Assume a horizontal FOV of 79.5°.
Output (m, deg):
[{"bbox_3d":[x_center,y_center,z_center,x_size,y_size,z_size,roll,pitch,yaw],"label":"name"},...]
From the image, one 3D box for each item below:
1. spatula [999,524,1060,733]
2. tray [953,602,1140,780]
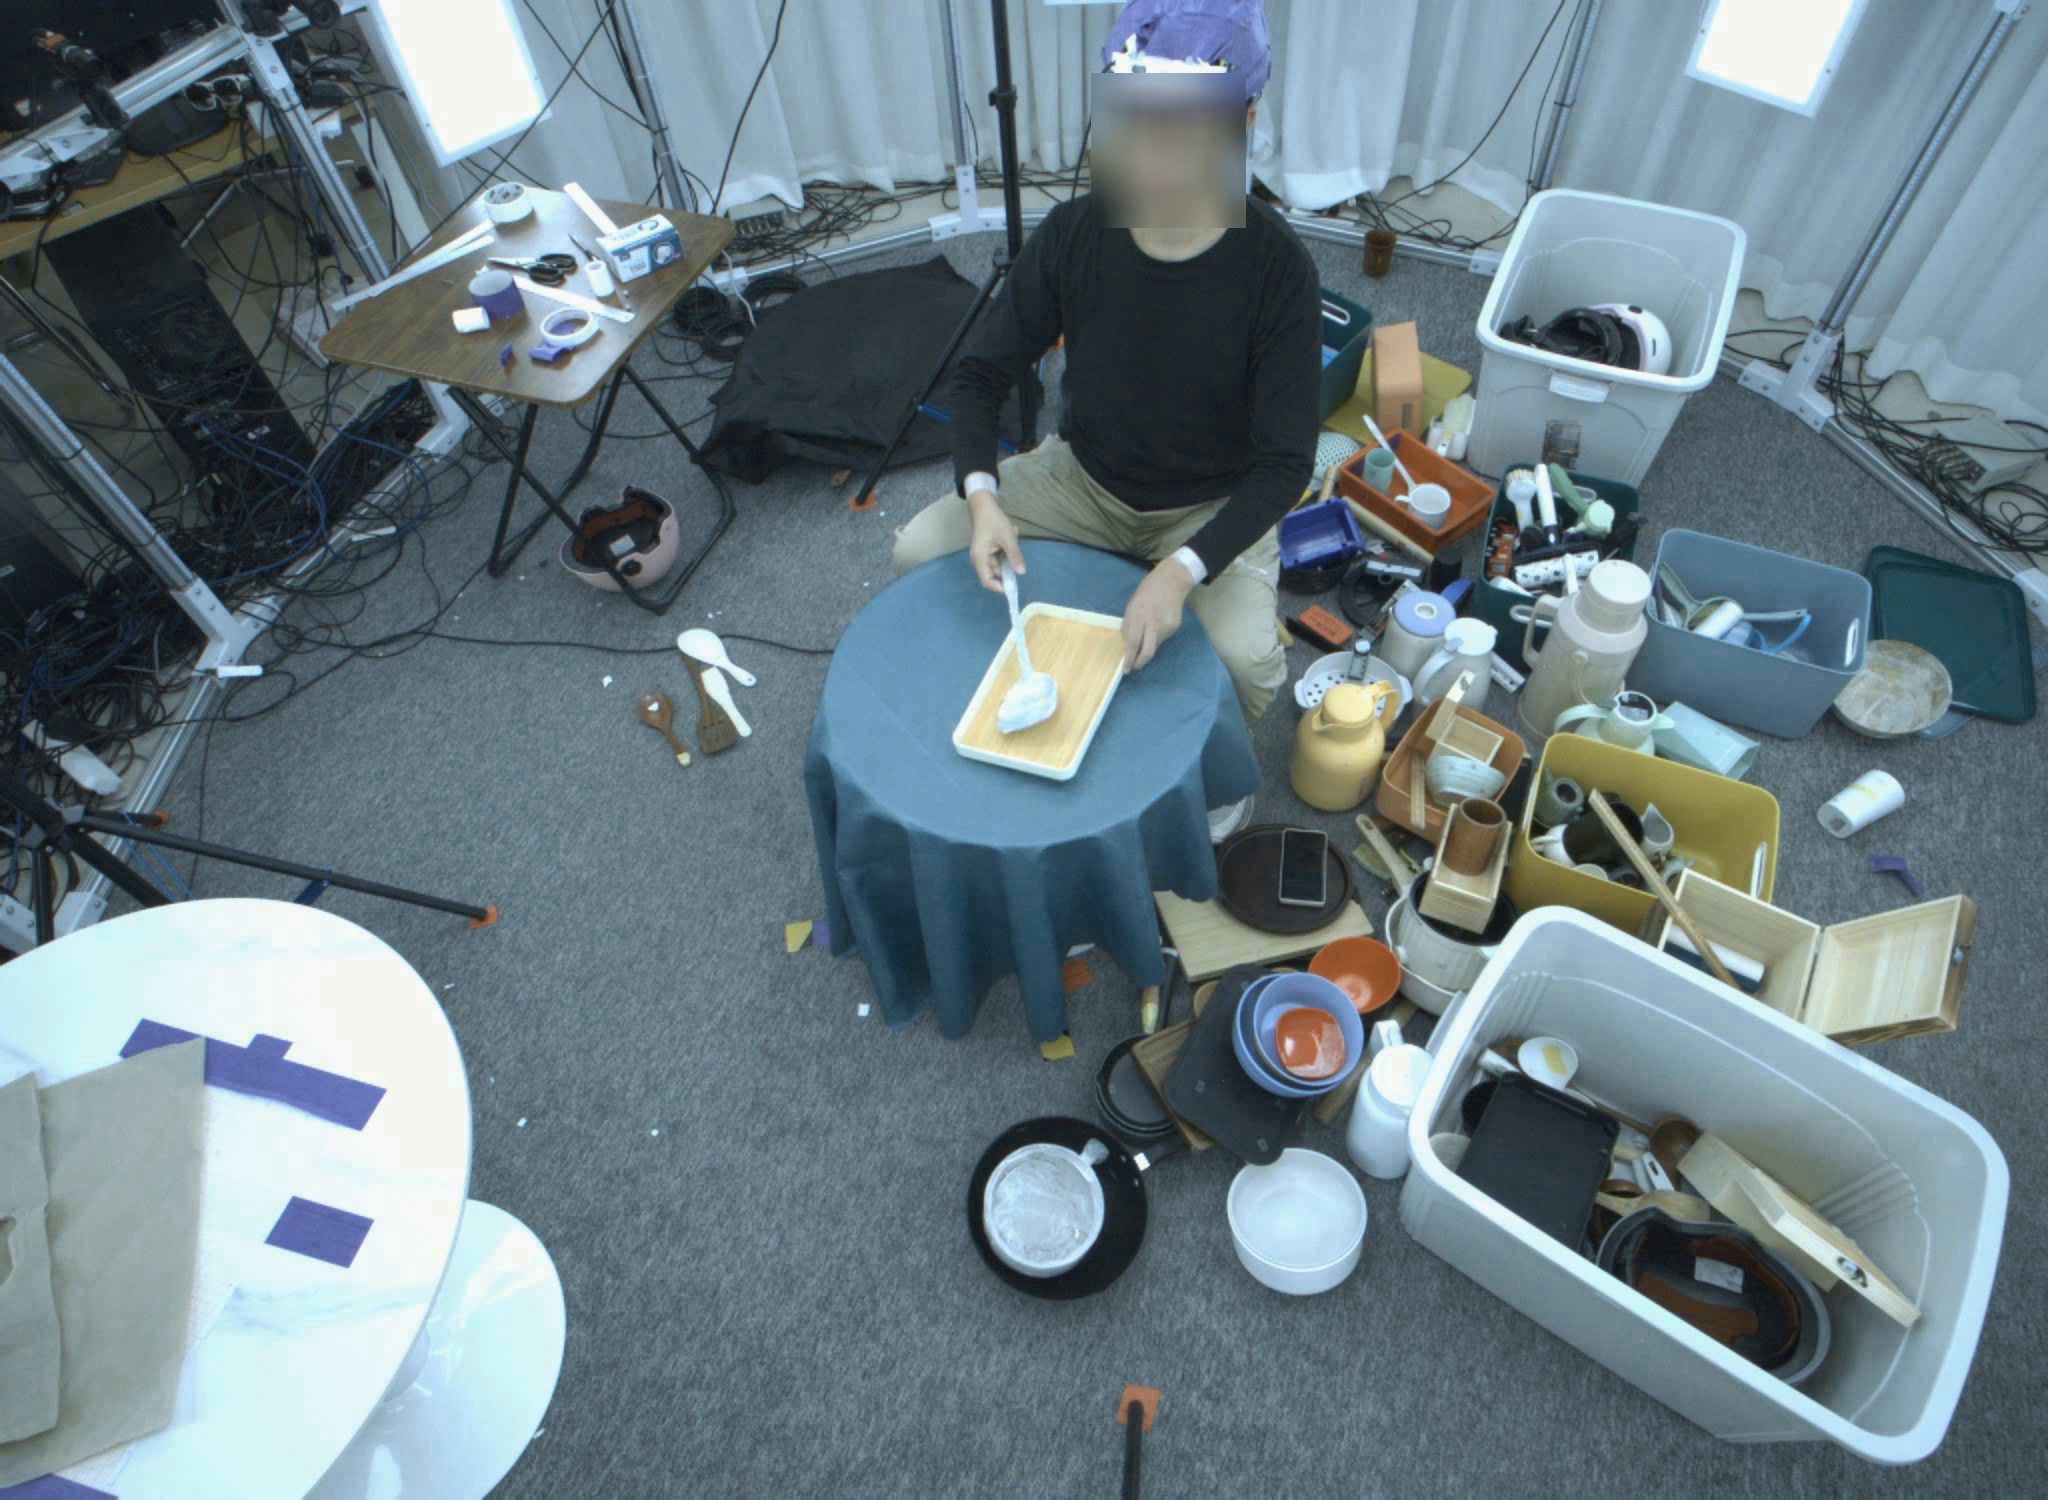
[{"bbox_3d":[-0.010,-0.190,1.833,0.097,0.045,0.361,-18,68,20],"label":"spatula"},{"bbox_3d":[0.037,-0.094,1.825,0.189,0.028,0.300,15,57,19],"label":"tray"}]
